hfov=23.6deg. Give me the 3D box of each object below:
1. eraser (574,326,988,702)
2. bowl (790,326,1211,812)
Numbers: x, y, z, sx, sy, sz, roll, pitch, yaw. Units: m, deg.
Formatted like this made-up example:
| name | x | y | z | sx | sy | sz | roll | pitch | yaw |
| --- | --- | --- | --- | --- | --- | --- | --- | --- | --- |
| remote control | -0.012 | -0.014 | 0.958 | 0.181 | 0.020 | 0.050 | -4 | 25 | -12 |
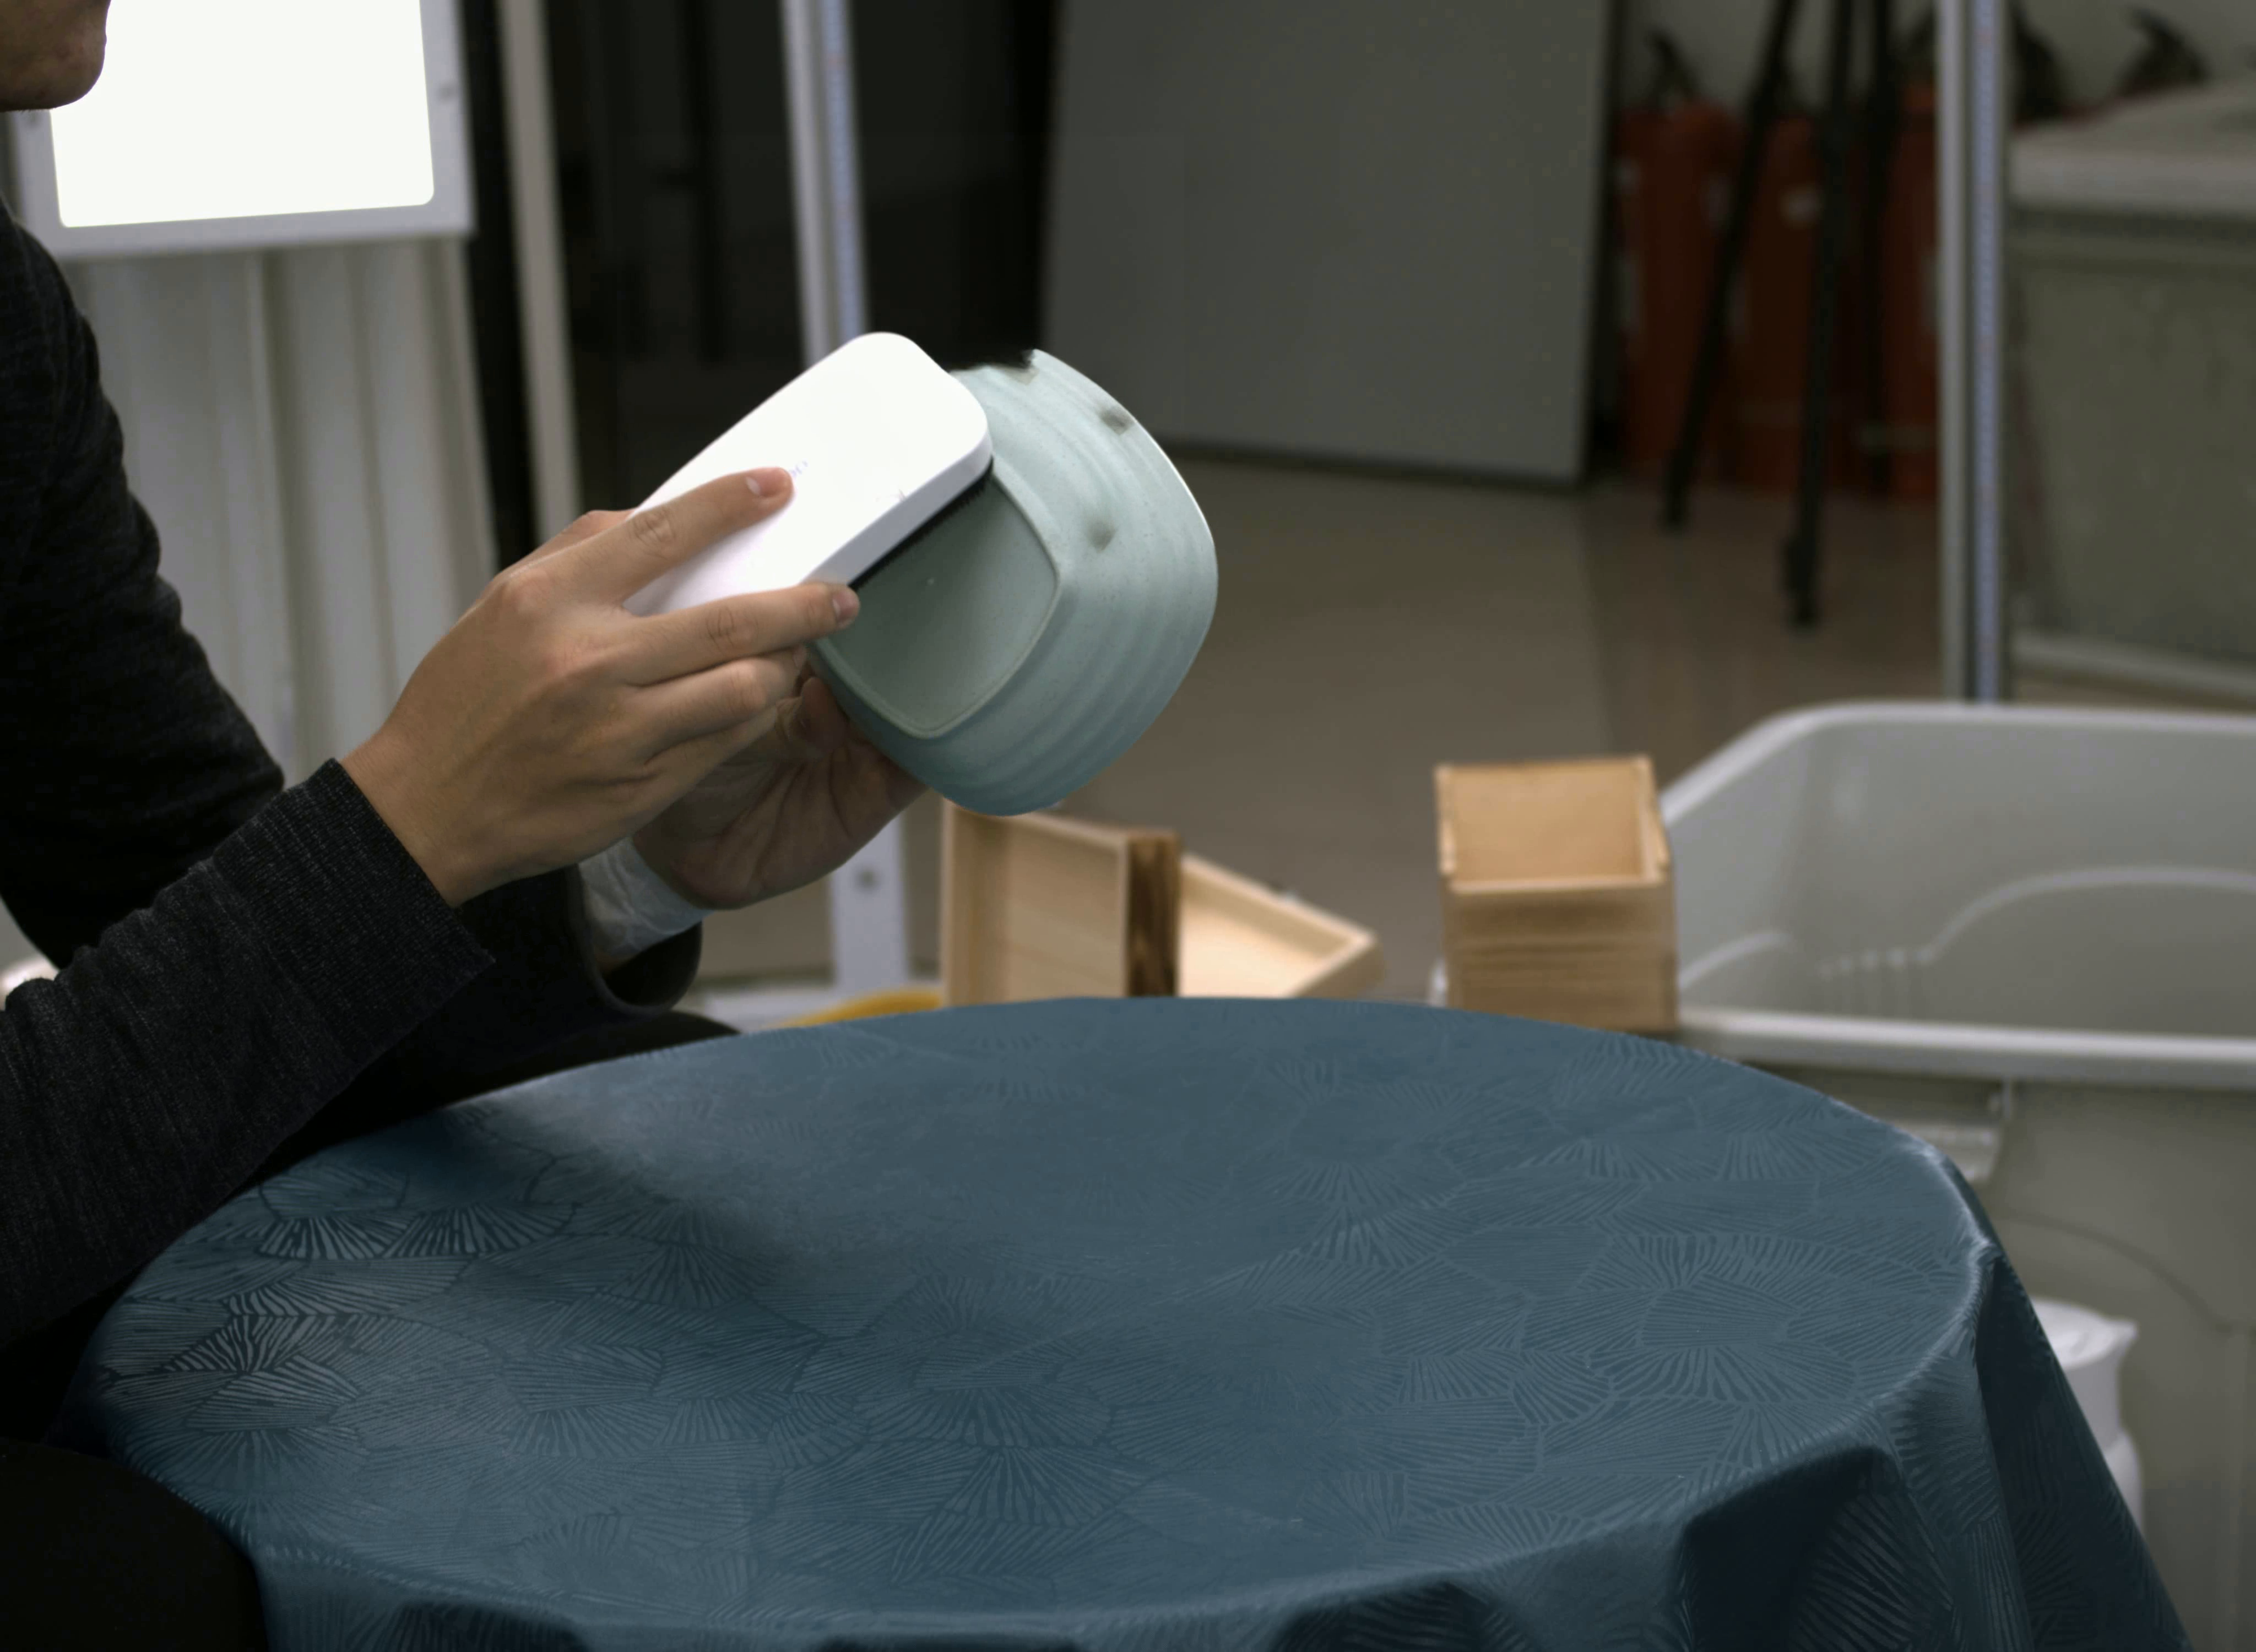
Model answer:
| name | x | y | z | sx | sy | sz | roll | pitch | yaw |
| --- | --- | --- | --- | --- | --- | --- | --- | --- | --- |
| eraser | -0.105 | -0.096 | 1.635 | 0.130 | 0.034 | 0.064 | -39 | 57 | -9 |
| bowl | -0.053 | -0.079 | 1.685 | 0.152 | 0.153 | 0.058 | 4 | 6 | 28 |
